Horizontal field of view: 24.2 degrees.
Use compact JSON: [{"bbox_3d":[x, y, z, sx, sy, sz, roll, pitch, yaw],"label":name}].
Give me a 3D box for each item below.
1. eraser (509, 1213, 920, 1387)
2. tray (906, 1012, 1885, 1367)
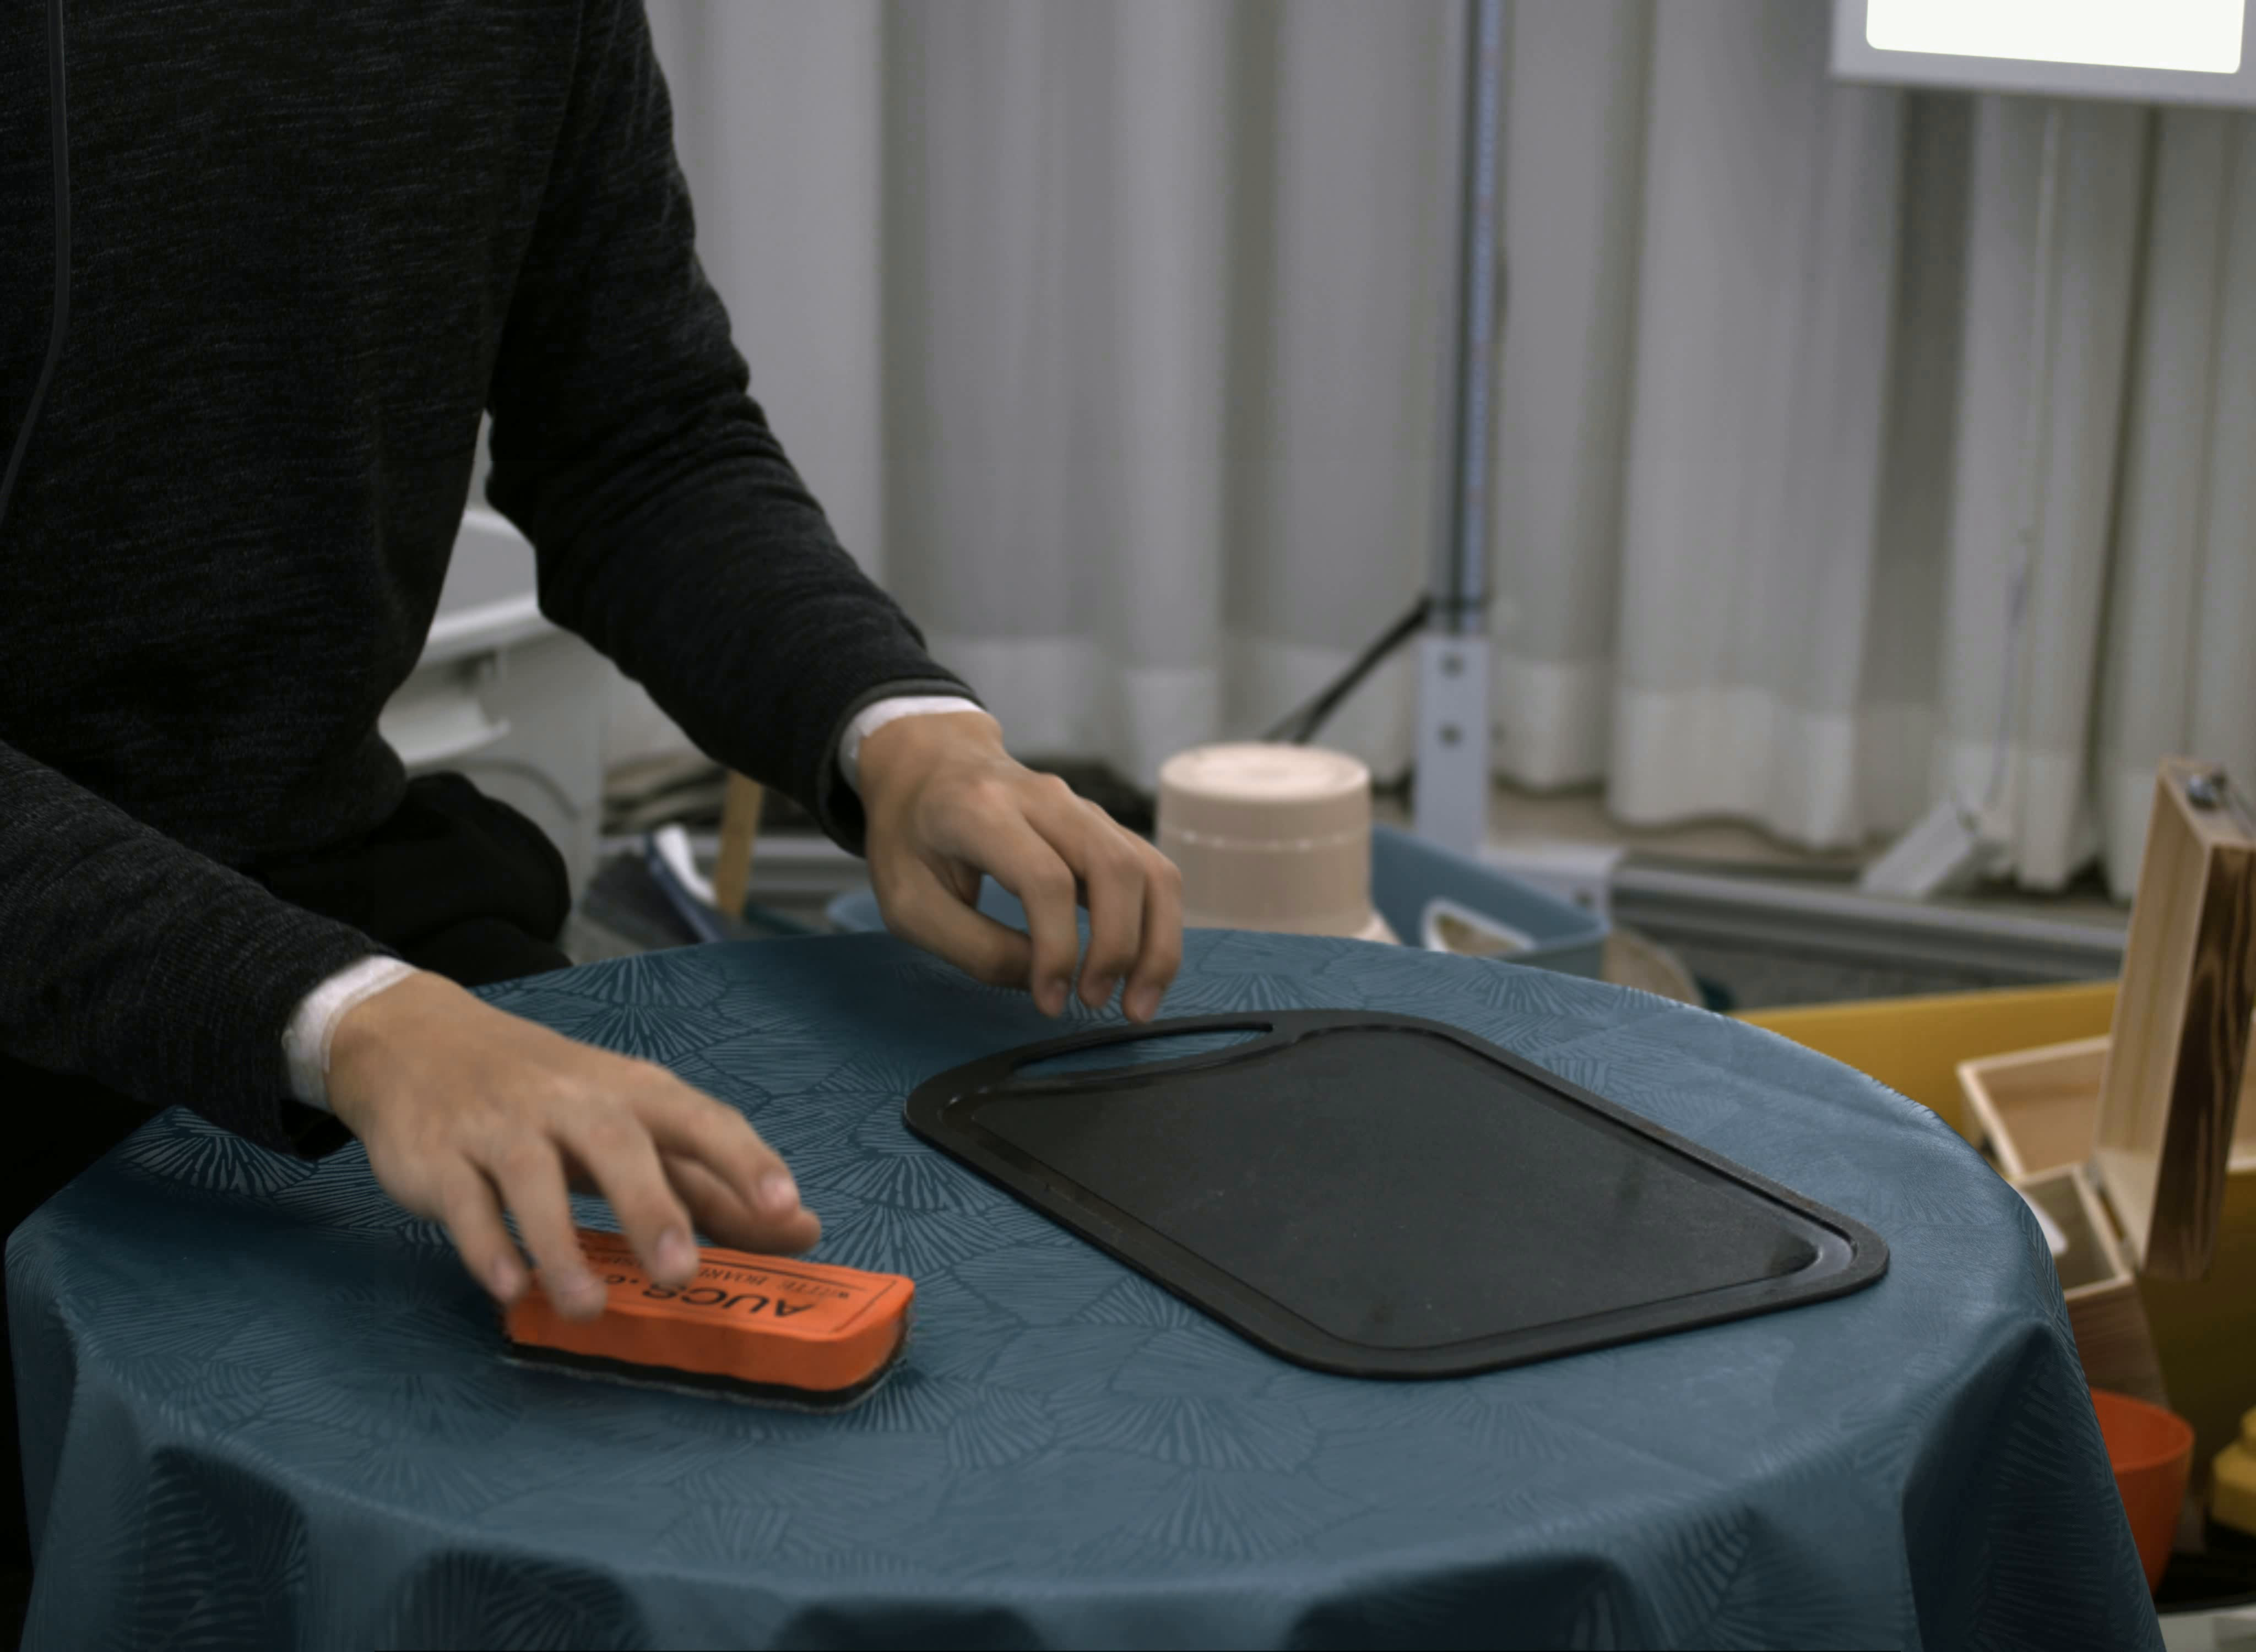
[{"bbox_3d":[-0.116,0.132,1.474,0.107,0.023,0.059,6,15,19],"label":"eraser"},{"bbox_3d":[0.072,0.105,1.636,0.212,0.010,0.321,-8,17,-28],"label":"tray"}]
